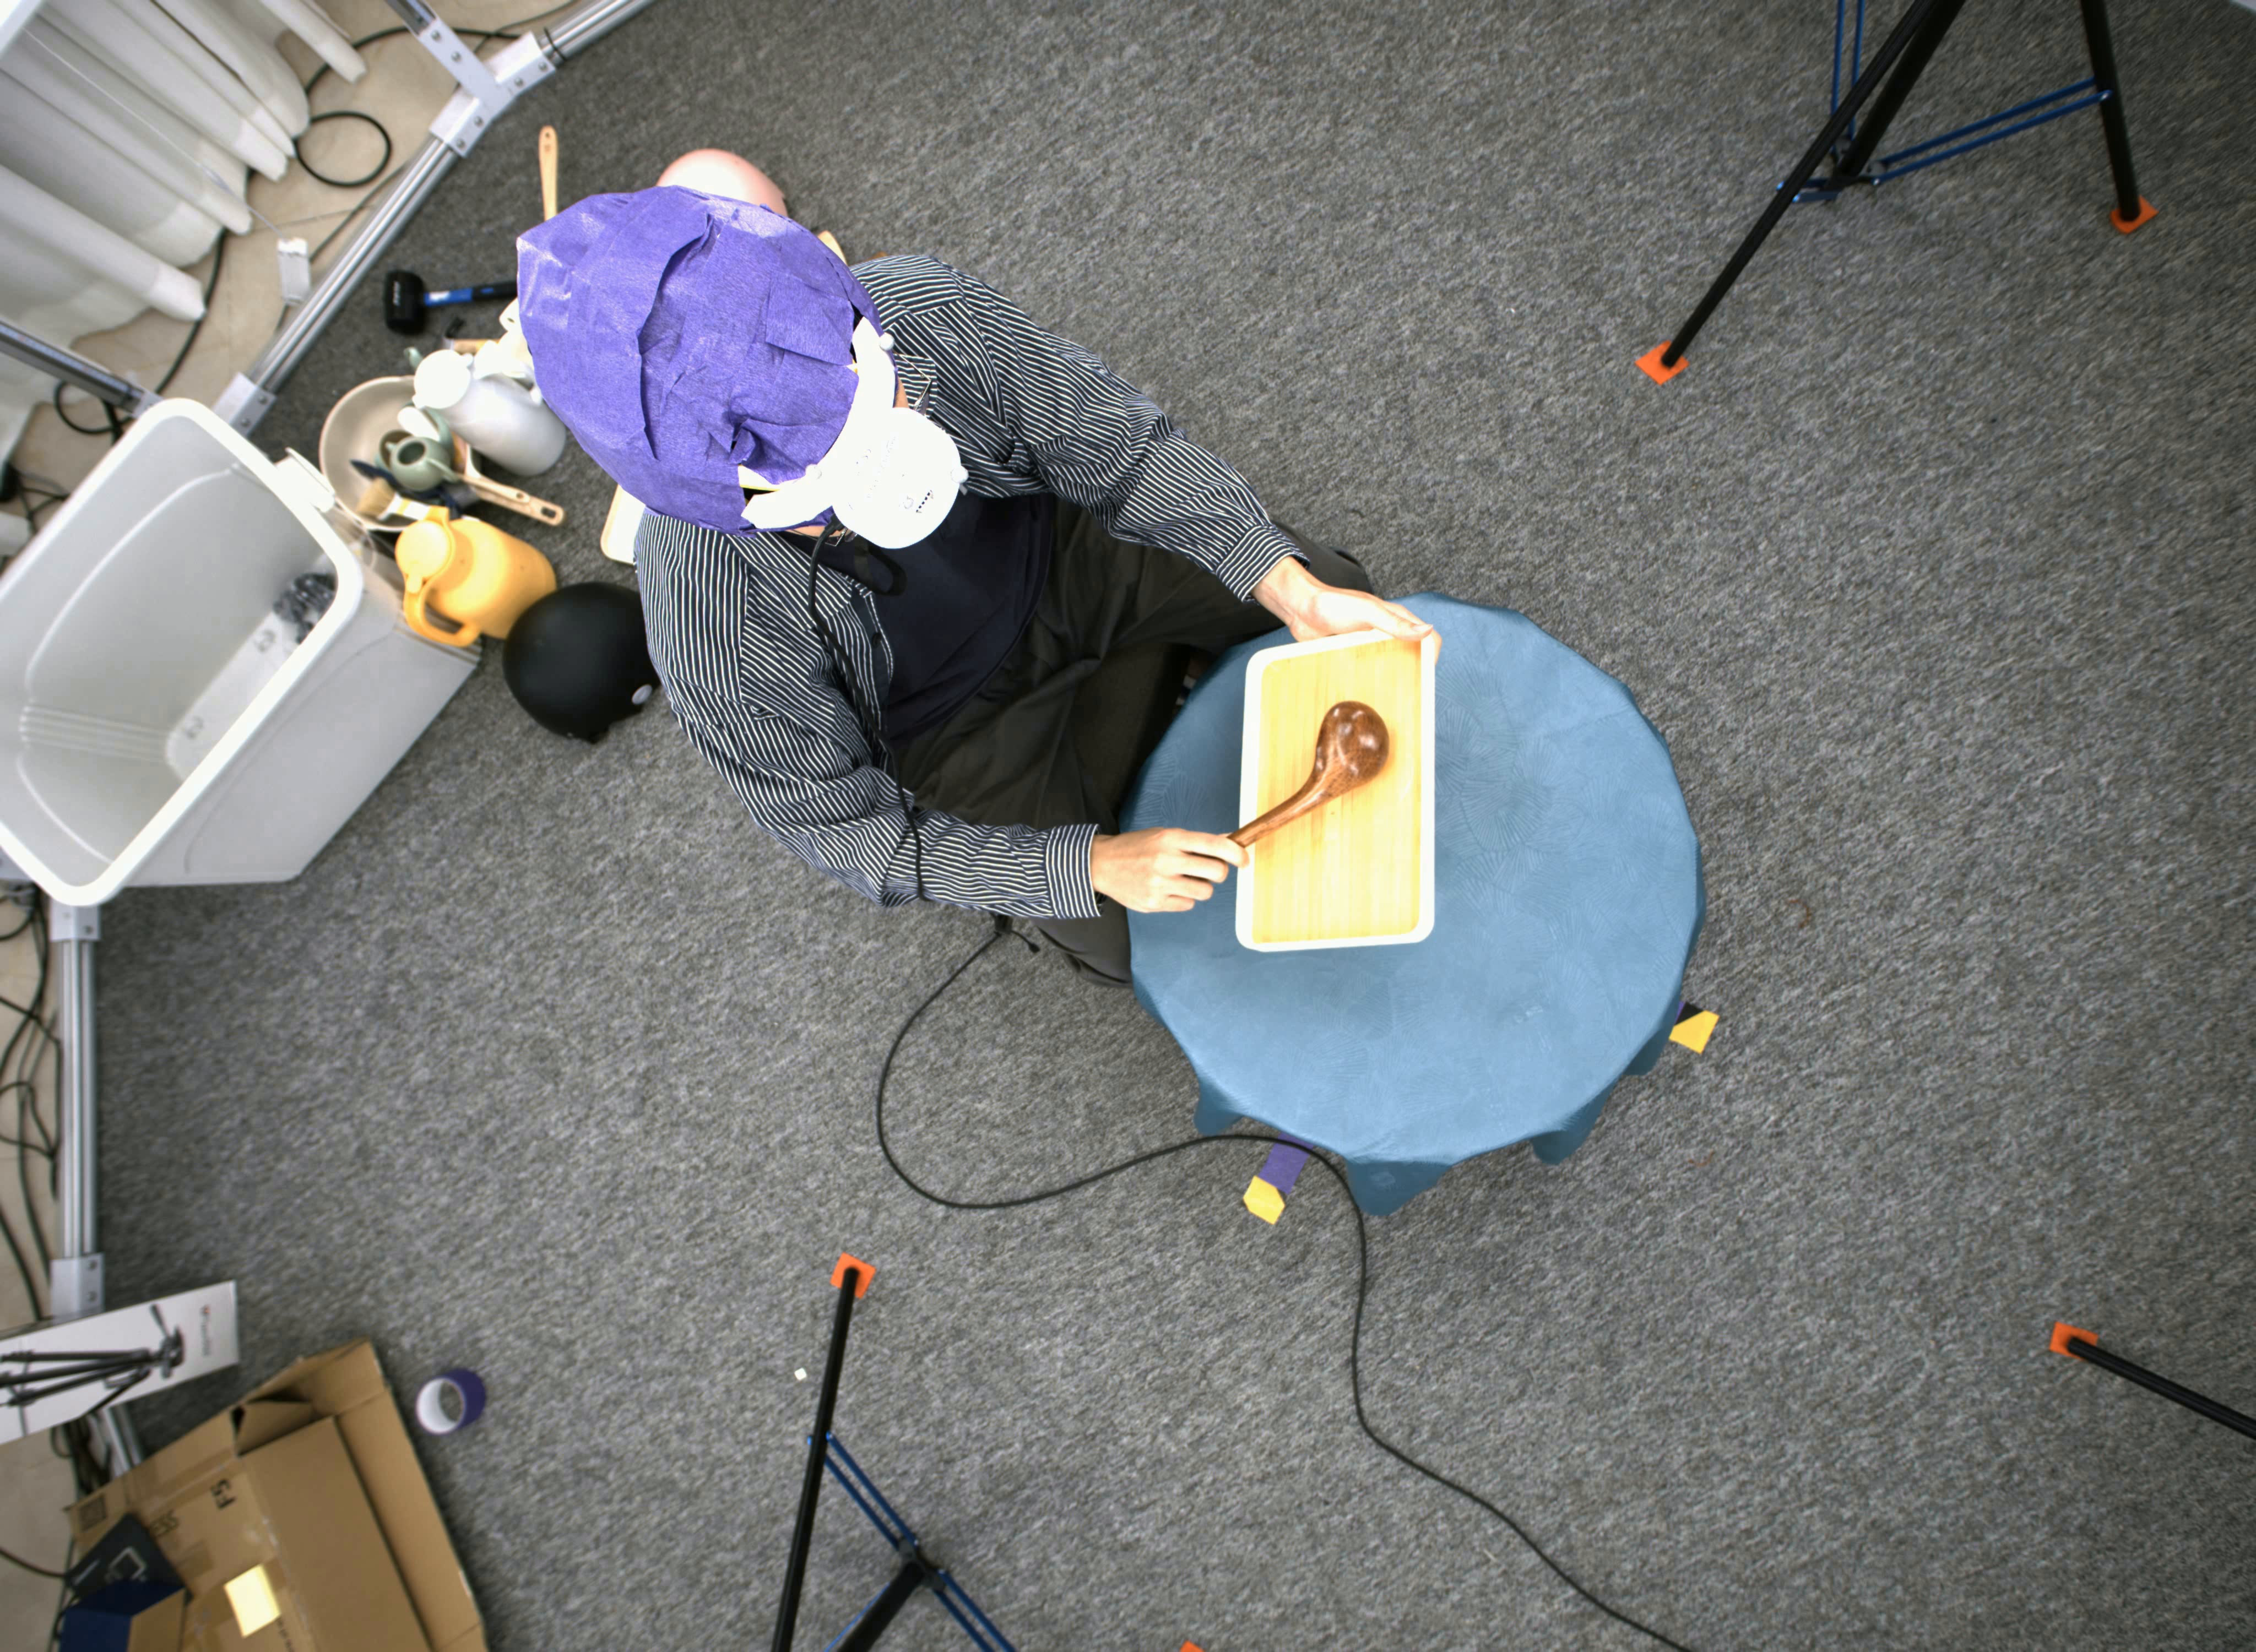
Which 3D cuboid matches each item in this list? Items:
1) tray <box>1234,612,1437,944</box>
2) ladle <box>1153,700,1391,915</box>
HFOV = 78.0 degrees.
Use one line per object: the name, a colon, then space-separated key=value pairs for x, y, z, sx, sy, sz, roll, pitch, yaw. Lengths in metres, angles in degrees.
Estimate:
tray: x=0.192 y=-0.043 z=1.275 sx=0.193 sy=0.027 sz=0.297 roll=-5 pitch=76 yaw=35
ladle: x=0.125 y=-0.017 z=1.281 sx=0.279 sy=0.074 sz=0.082 roll=-36 pitch=122 yaw=28
